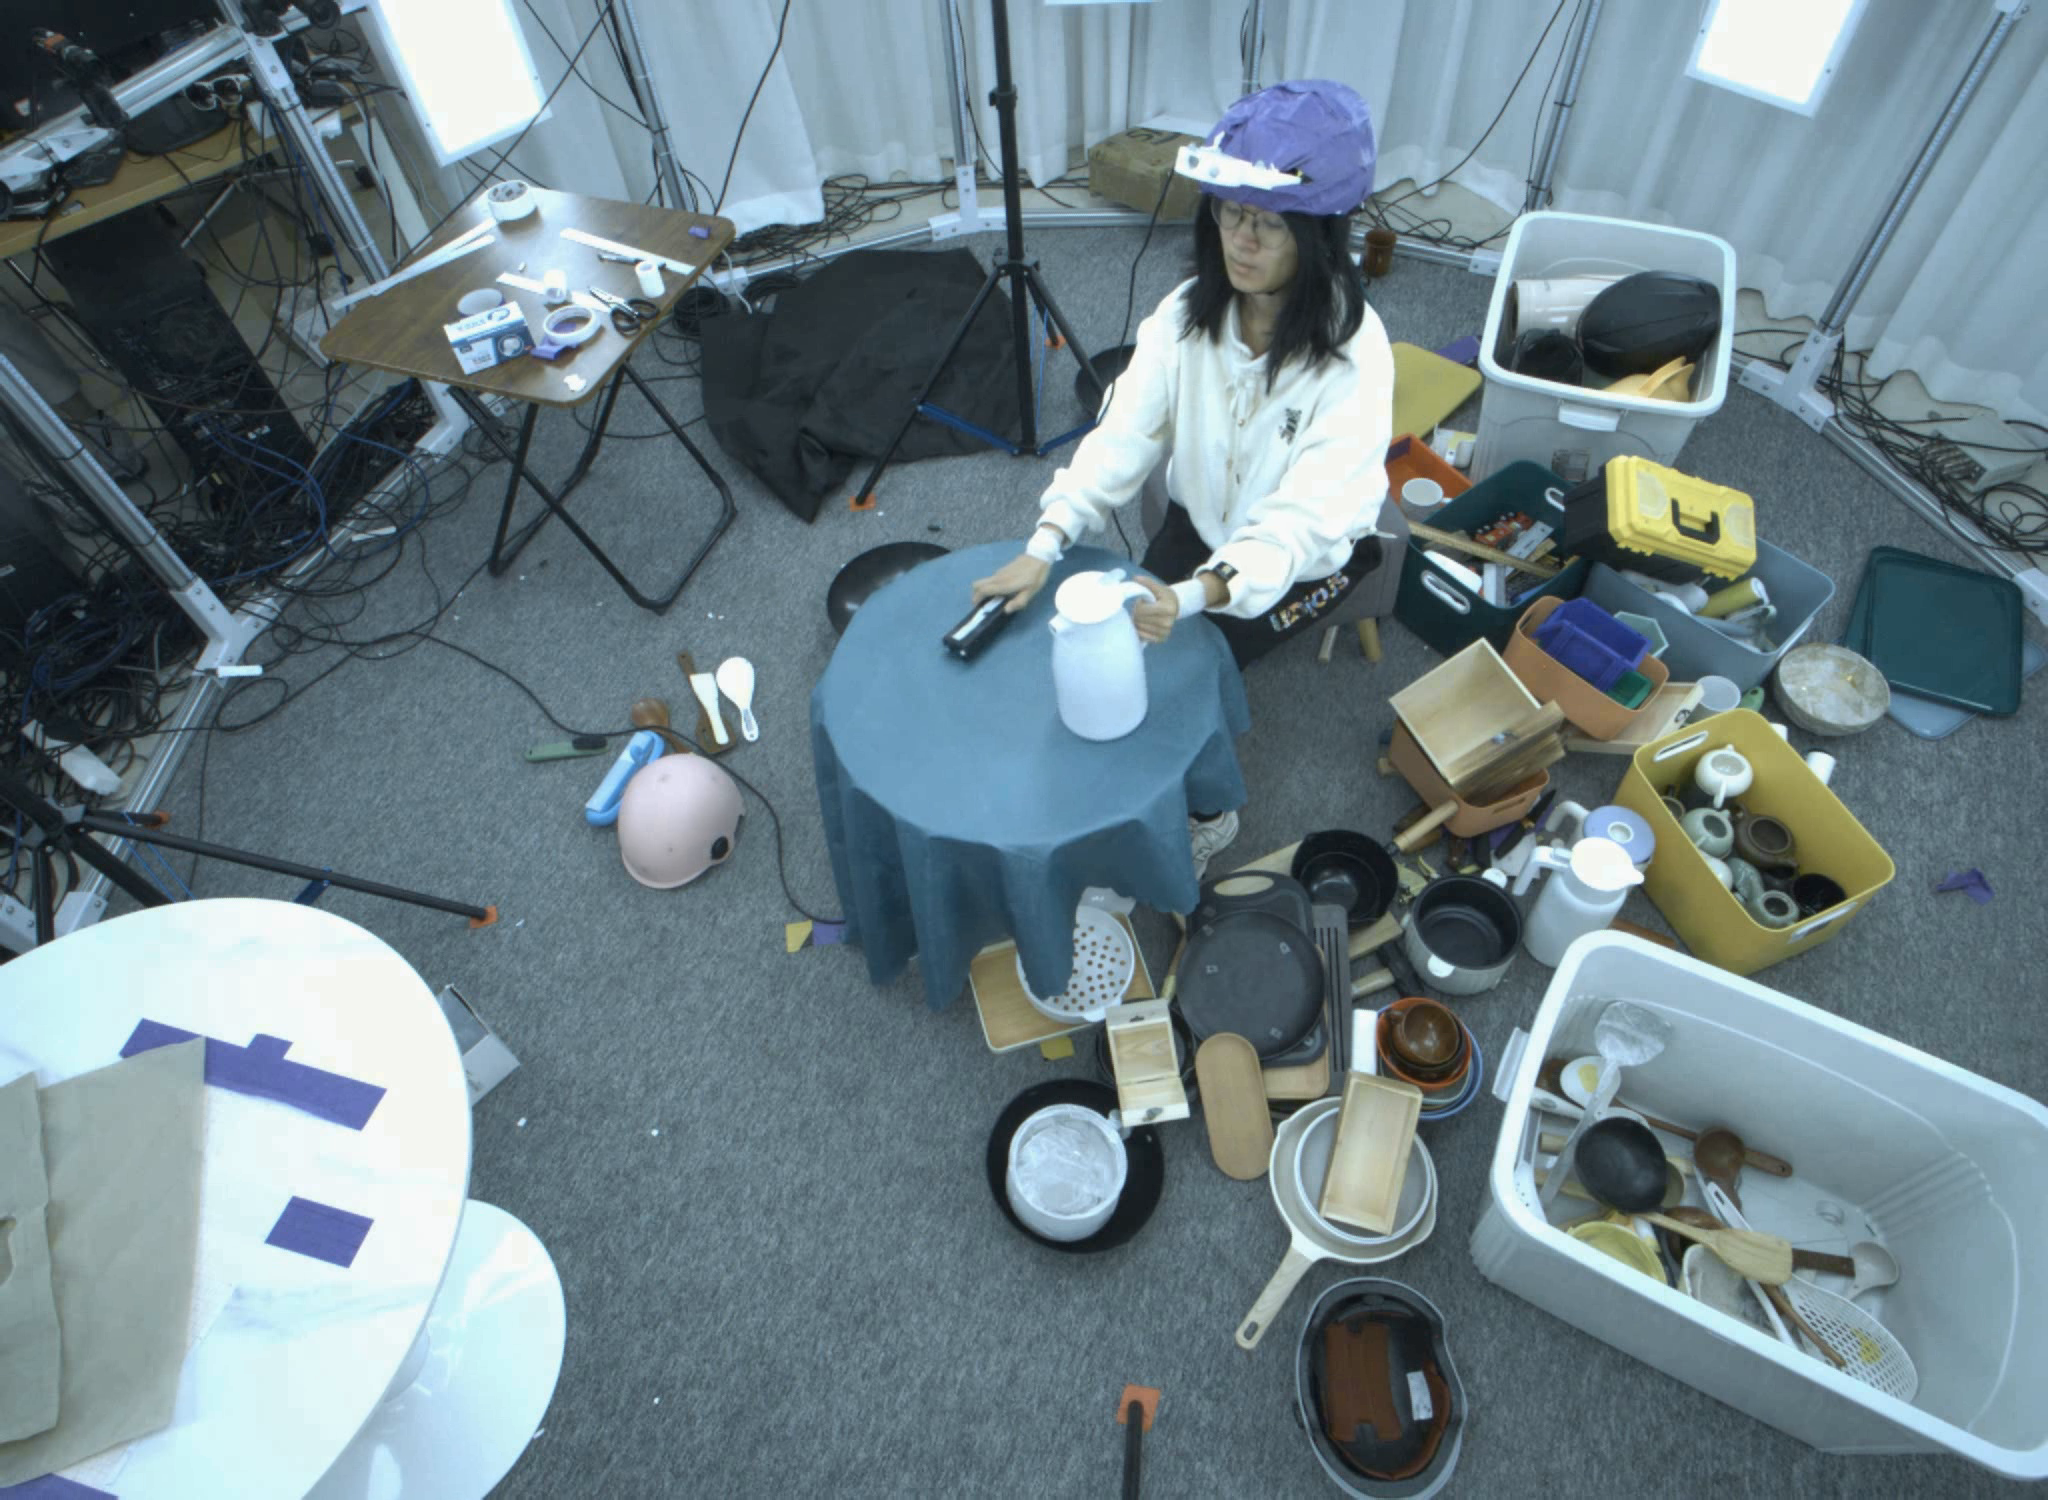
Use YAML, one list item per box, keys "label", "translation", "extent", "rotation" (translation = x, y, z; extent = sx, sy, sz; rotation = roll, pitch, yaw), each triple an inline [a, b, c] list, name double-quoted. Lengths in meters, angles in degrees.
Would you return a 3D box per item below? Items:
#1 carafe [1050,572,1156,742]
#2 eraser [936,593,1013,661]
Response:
- label: "carafe"
  translation: [0.114, -0.145, 1.728]
  extent: [0.169, 0.252, 0.130]
  rotation: [-34, 58, -17]
- label: "eraser"
  translation: [-0.076, -0.191, 1.903]
  extent: [0.052, 0.031, 0.126]
  rotation: [26, 59, 31]
